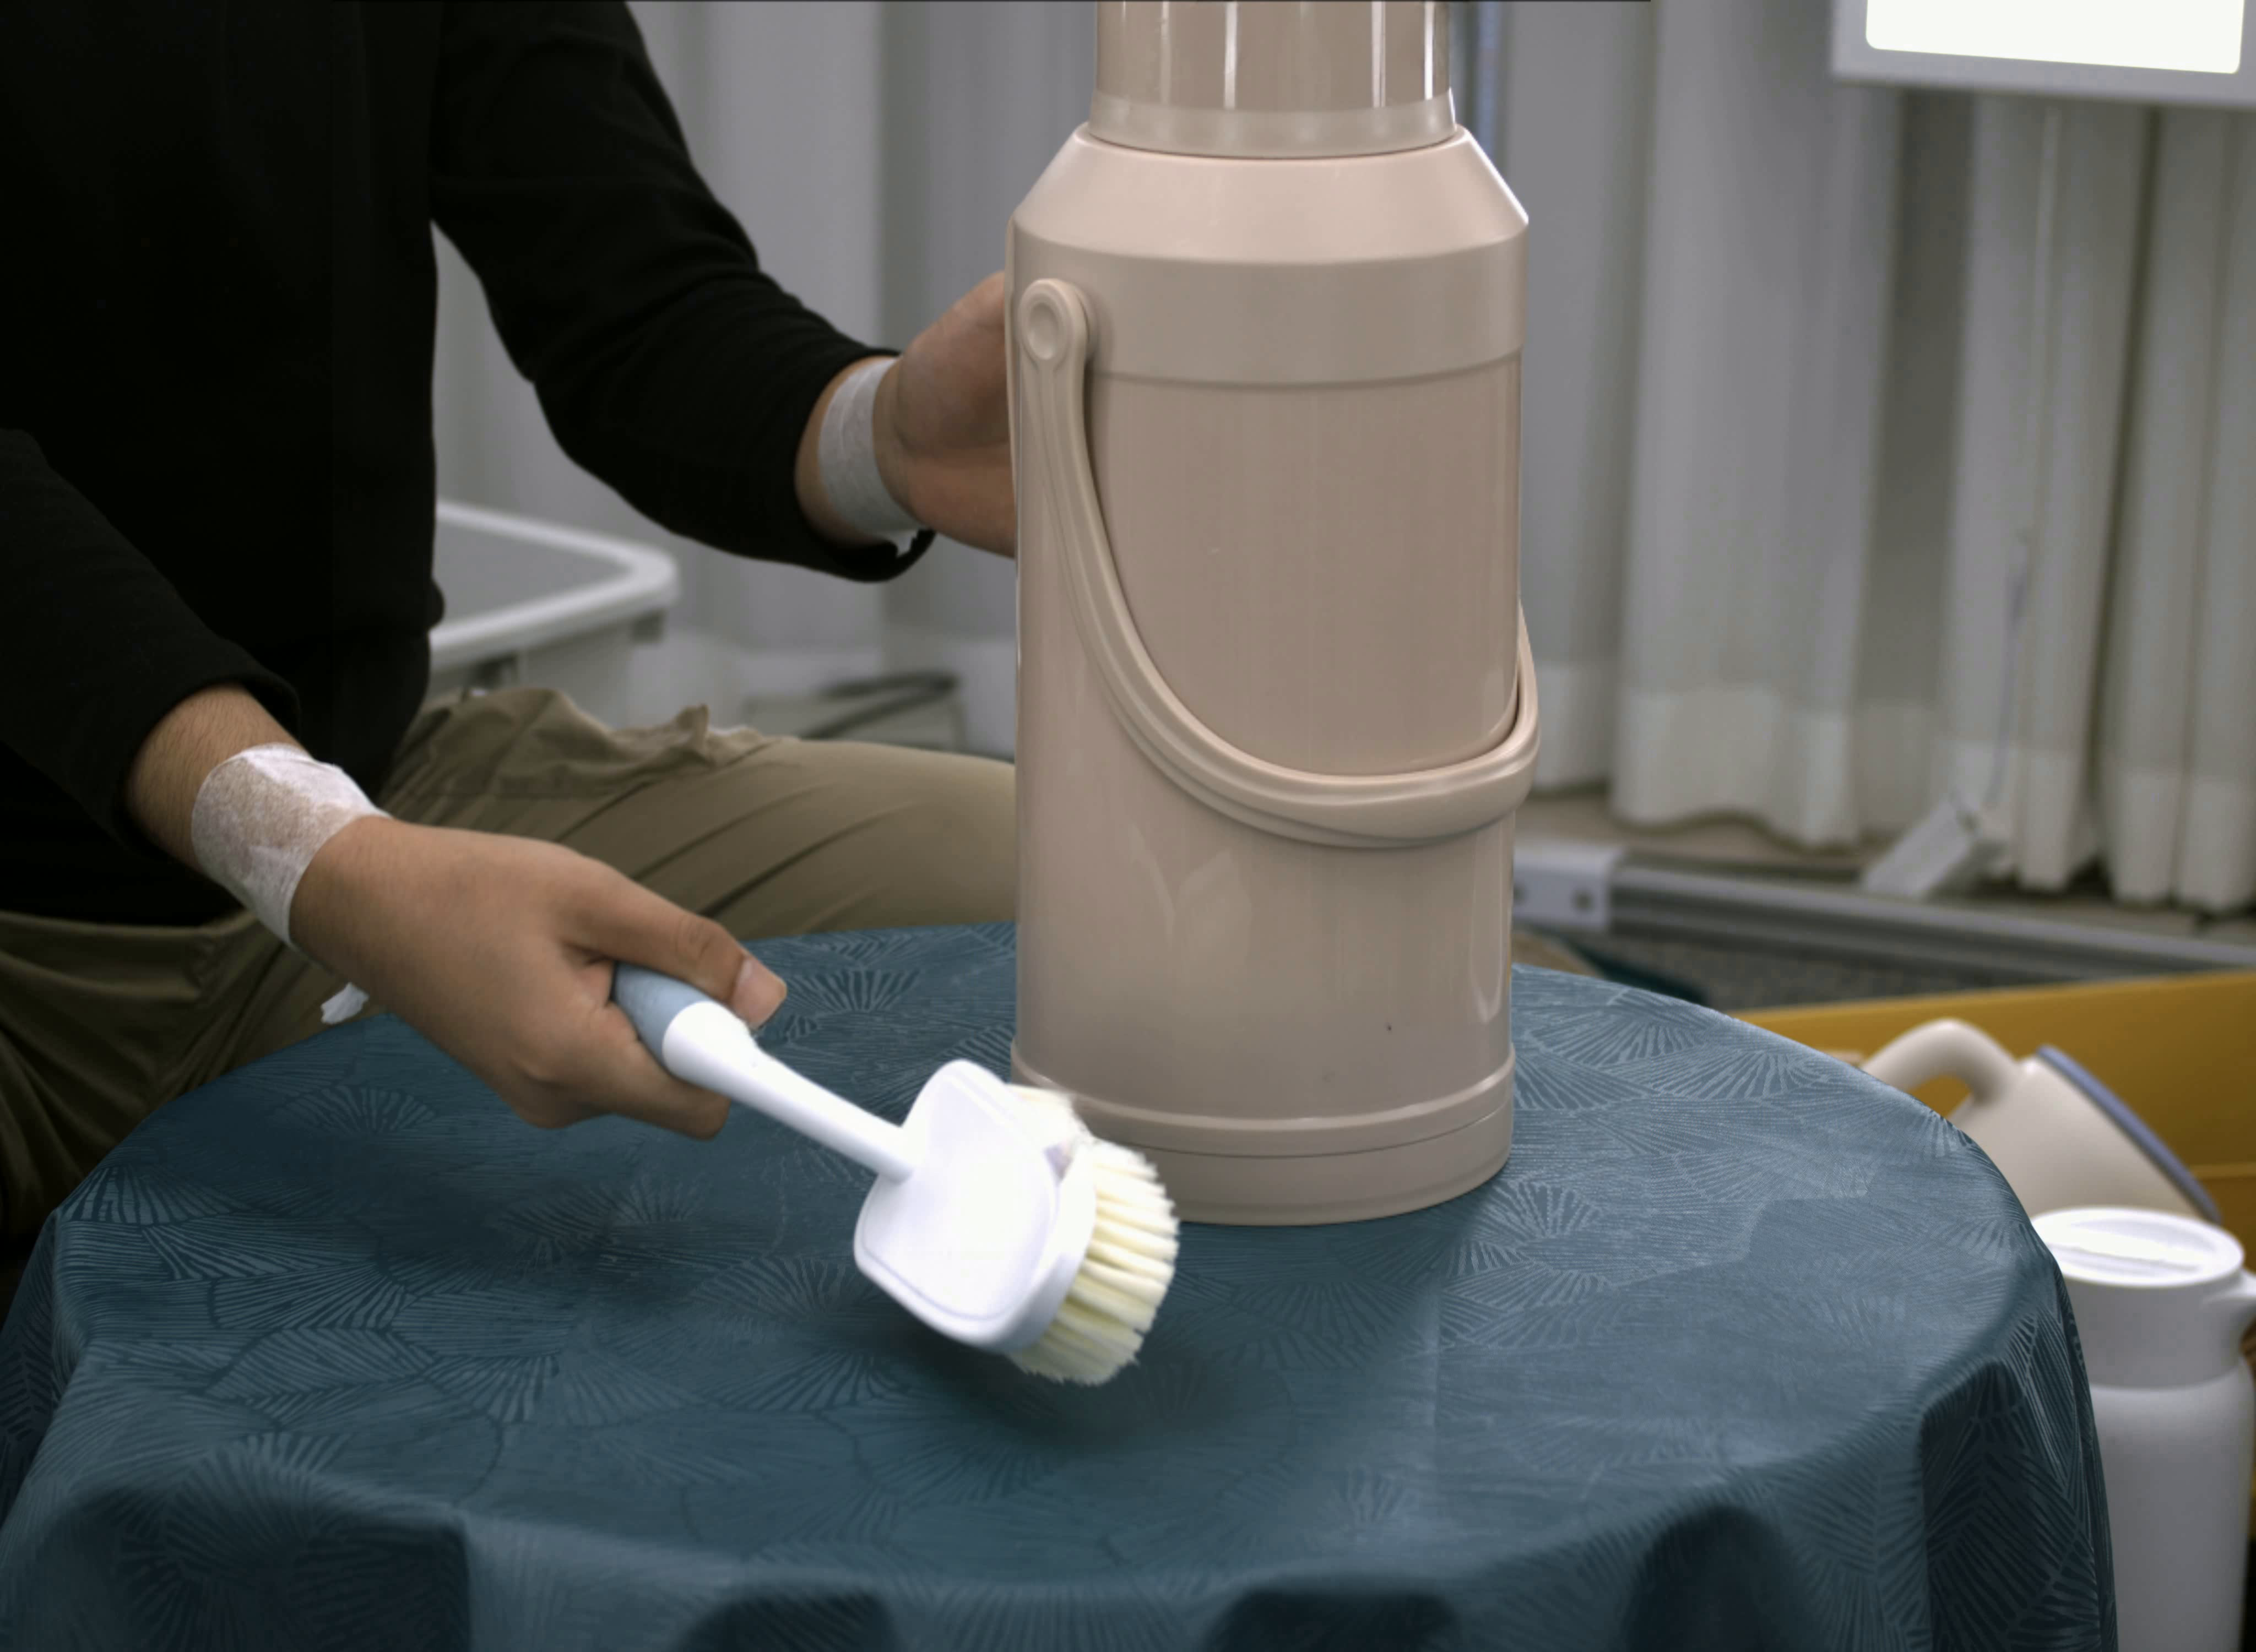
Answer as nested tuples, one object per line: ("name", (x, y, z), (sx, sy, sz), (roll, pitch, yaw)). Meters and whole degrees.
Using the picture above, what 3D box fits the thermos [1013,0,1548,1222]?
("thermos", (0.037, -0.094, 1.622), (0.176, 0.410, 0.204), (-15, 22, -38))

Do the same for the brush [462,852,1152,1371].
("brush", (-0.085, 0.075, 1.534), (0.083, 0.085, 0.321), (-33, 35, -21))
